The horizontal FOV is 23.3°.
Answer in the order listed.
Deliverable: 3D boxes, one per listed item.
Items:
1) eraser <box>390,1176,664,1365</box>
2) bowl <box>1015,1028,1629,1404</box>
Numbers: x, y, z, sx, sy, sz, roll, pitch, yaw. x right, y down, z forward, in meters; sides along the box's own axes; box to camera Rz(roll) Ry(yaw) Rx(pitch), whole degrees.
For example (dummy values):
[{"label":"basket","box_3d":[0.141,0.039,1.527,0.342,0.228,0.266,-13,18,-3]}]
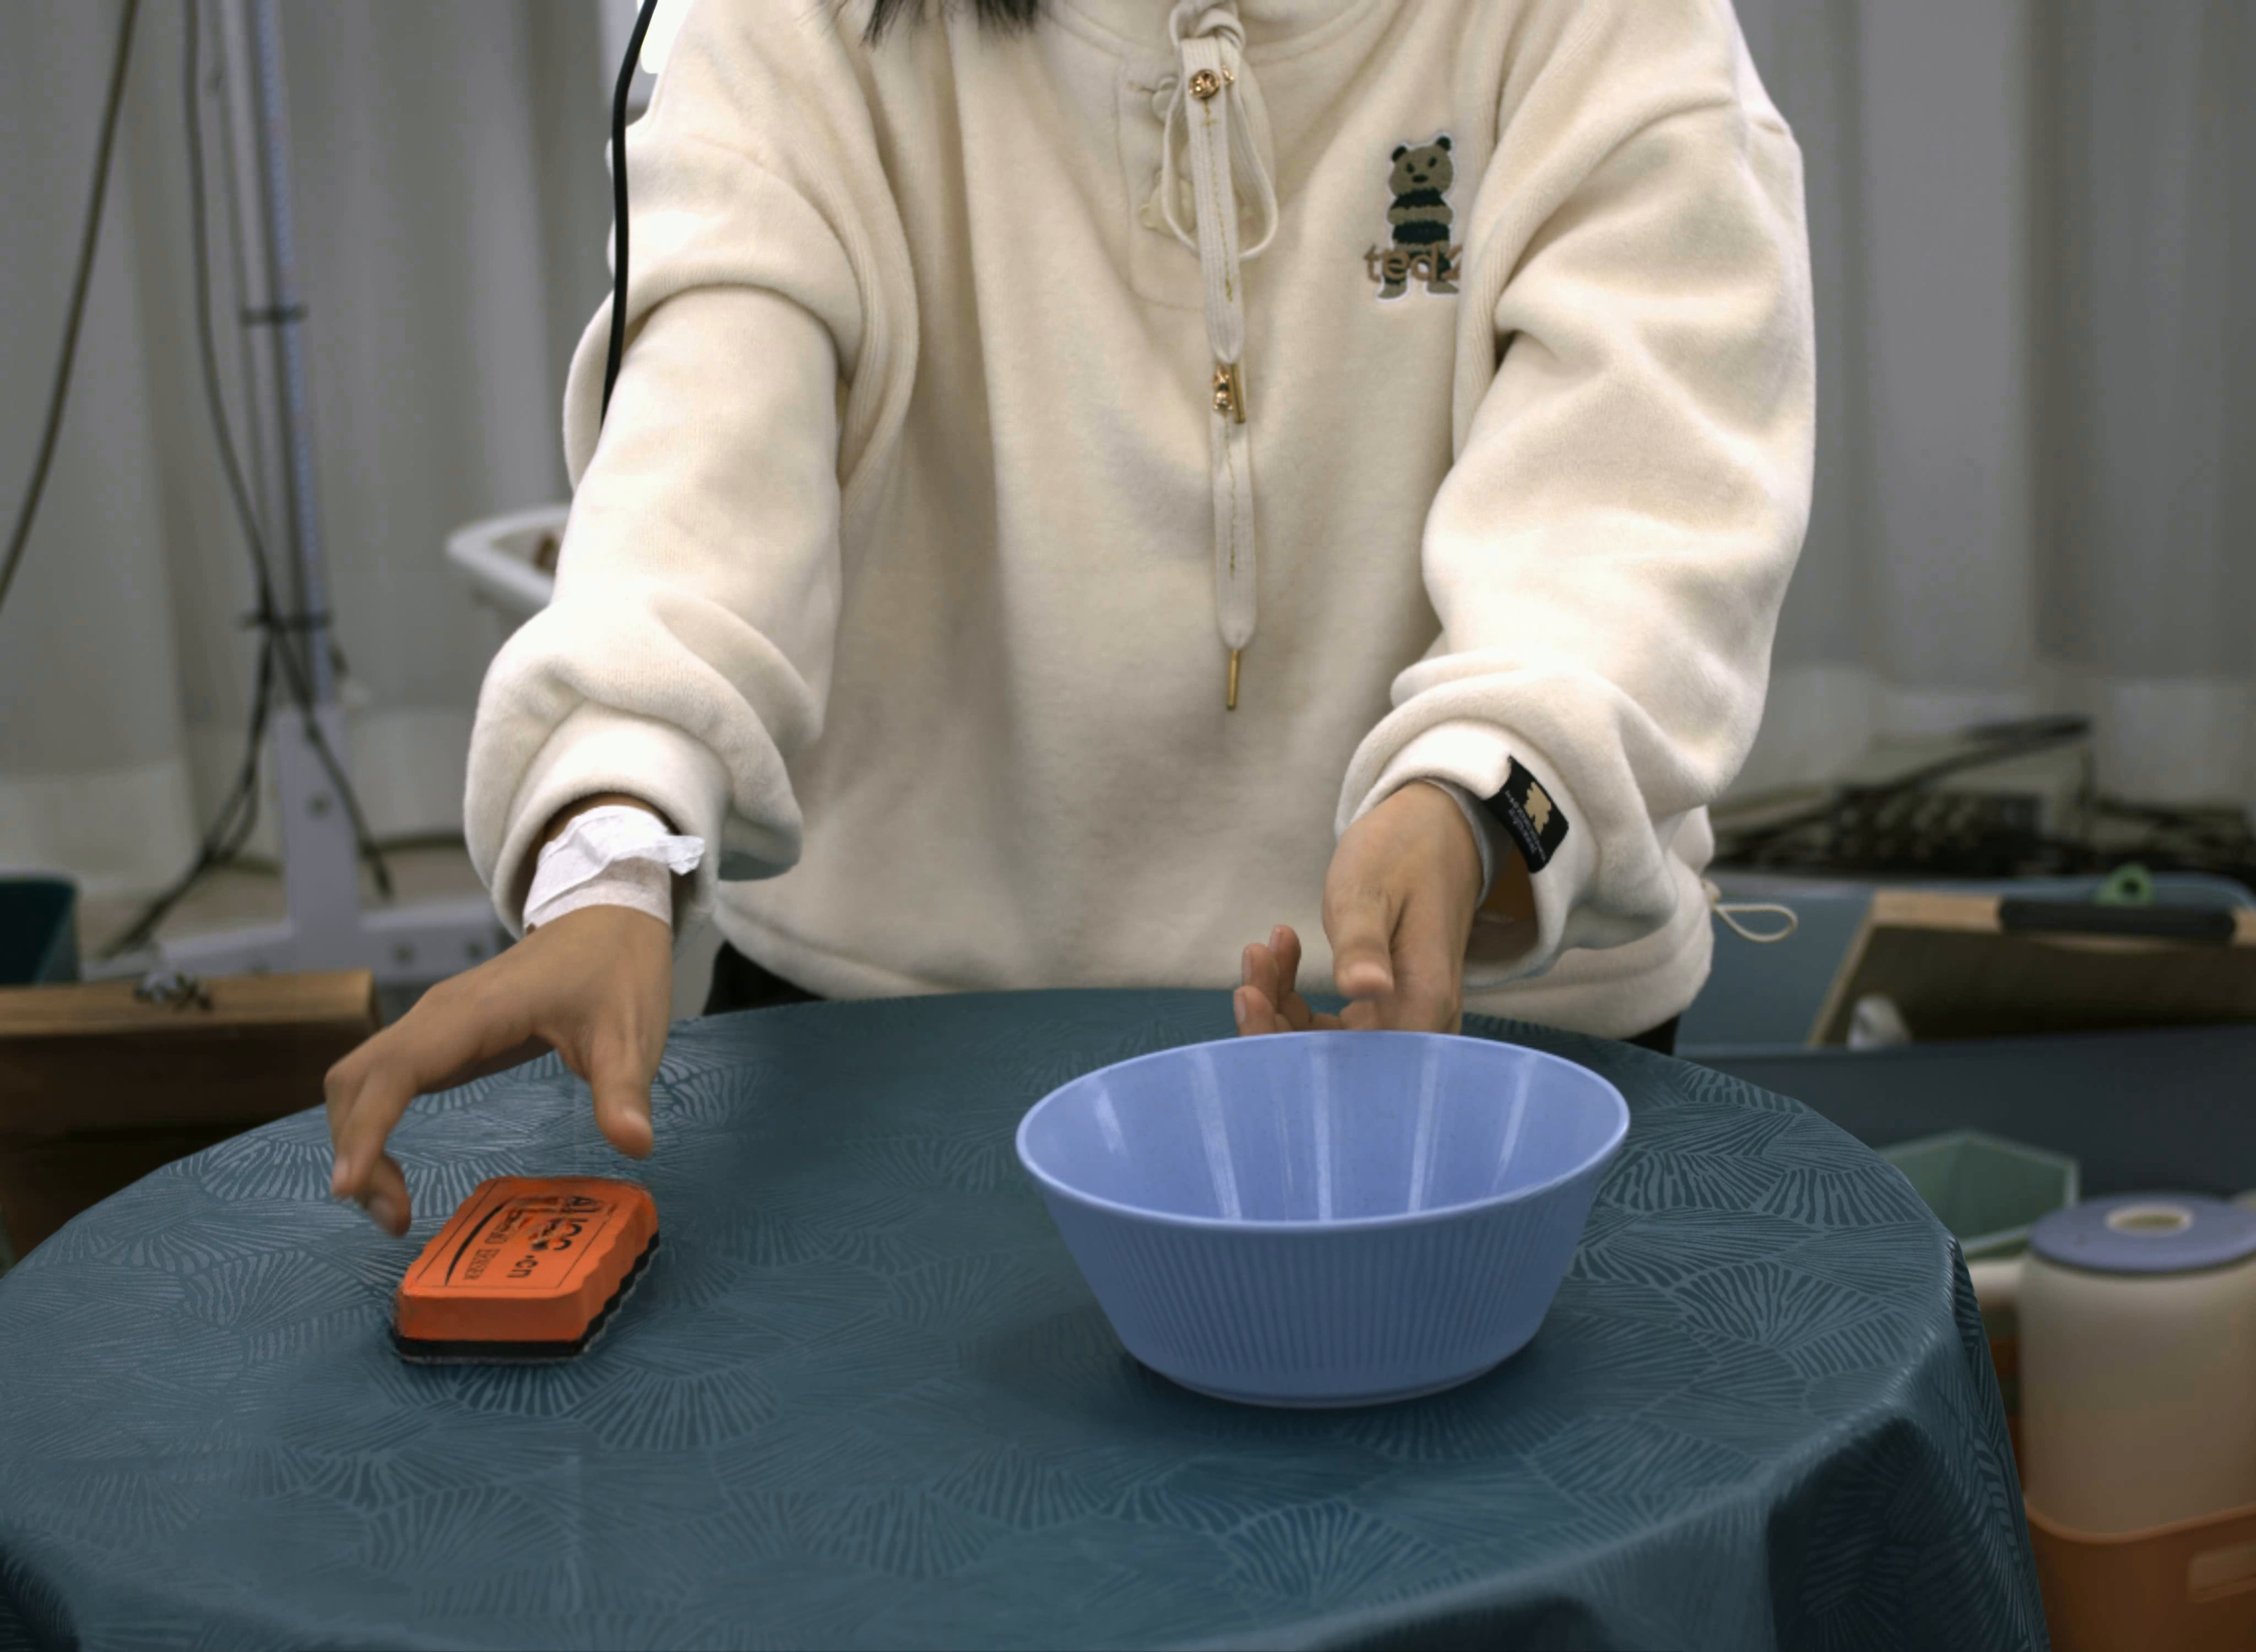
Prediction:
[{"label":"eraser","box_3d":[-0.179,0.133,1.637,0.059,0.023,0.108,-2,15,11]},{"label":"bowl","box_3d":[0.056,0.114,1.566,0.175,0.070,0.177,-3,15,0]}]
